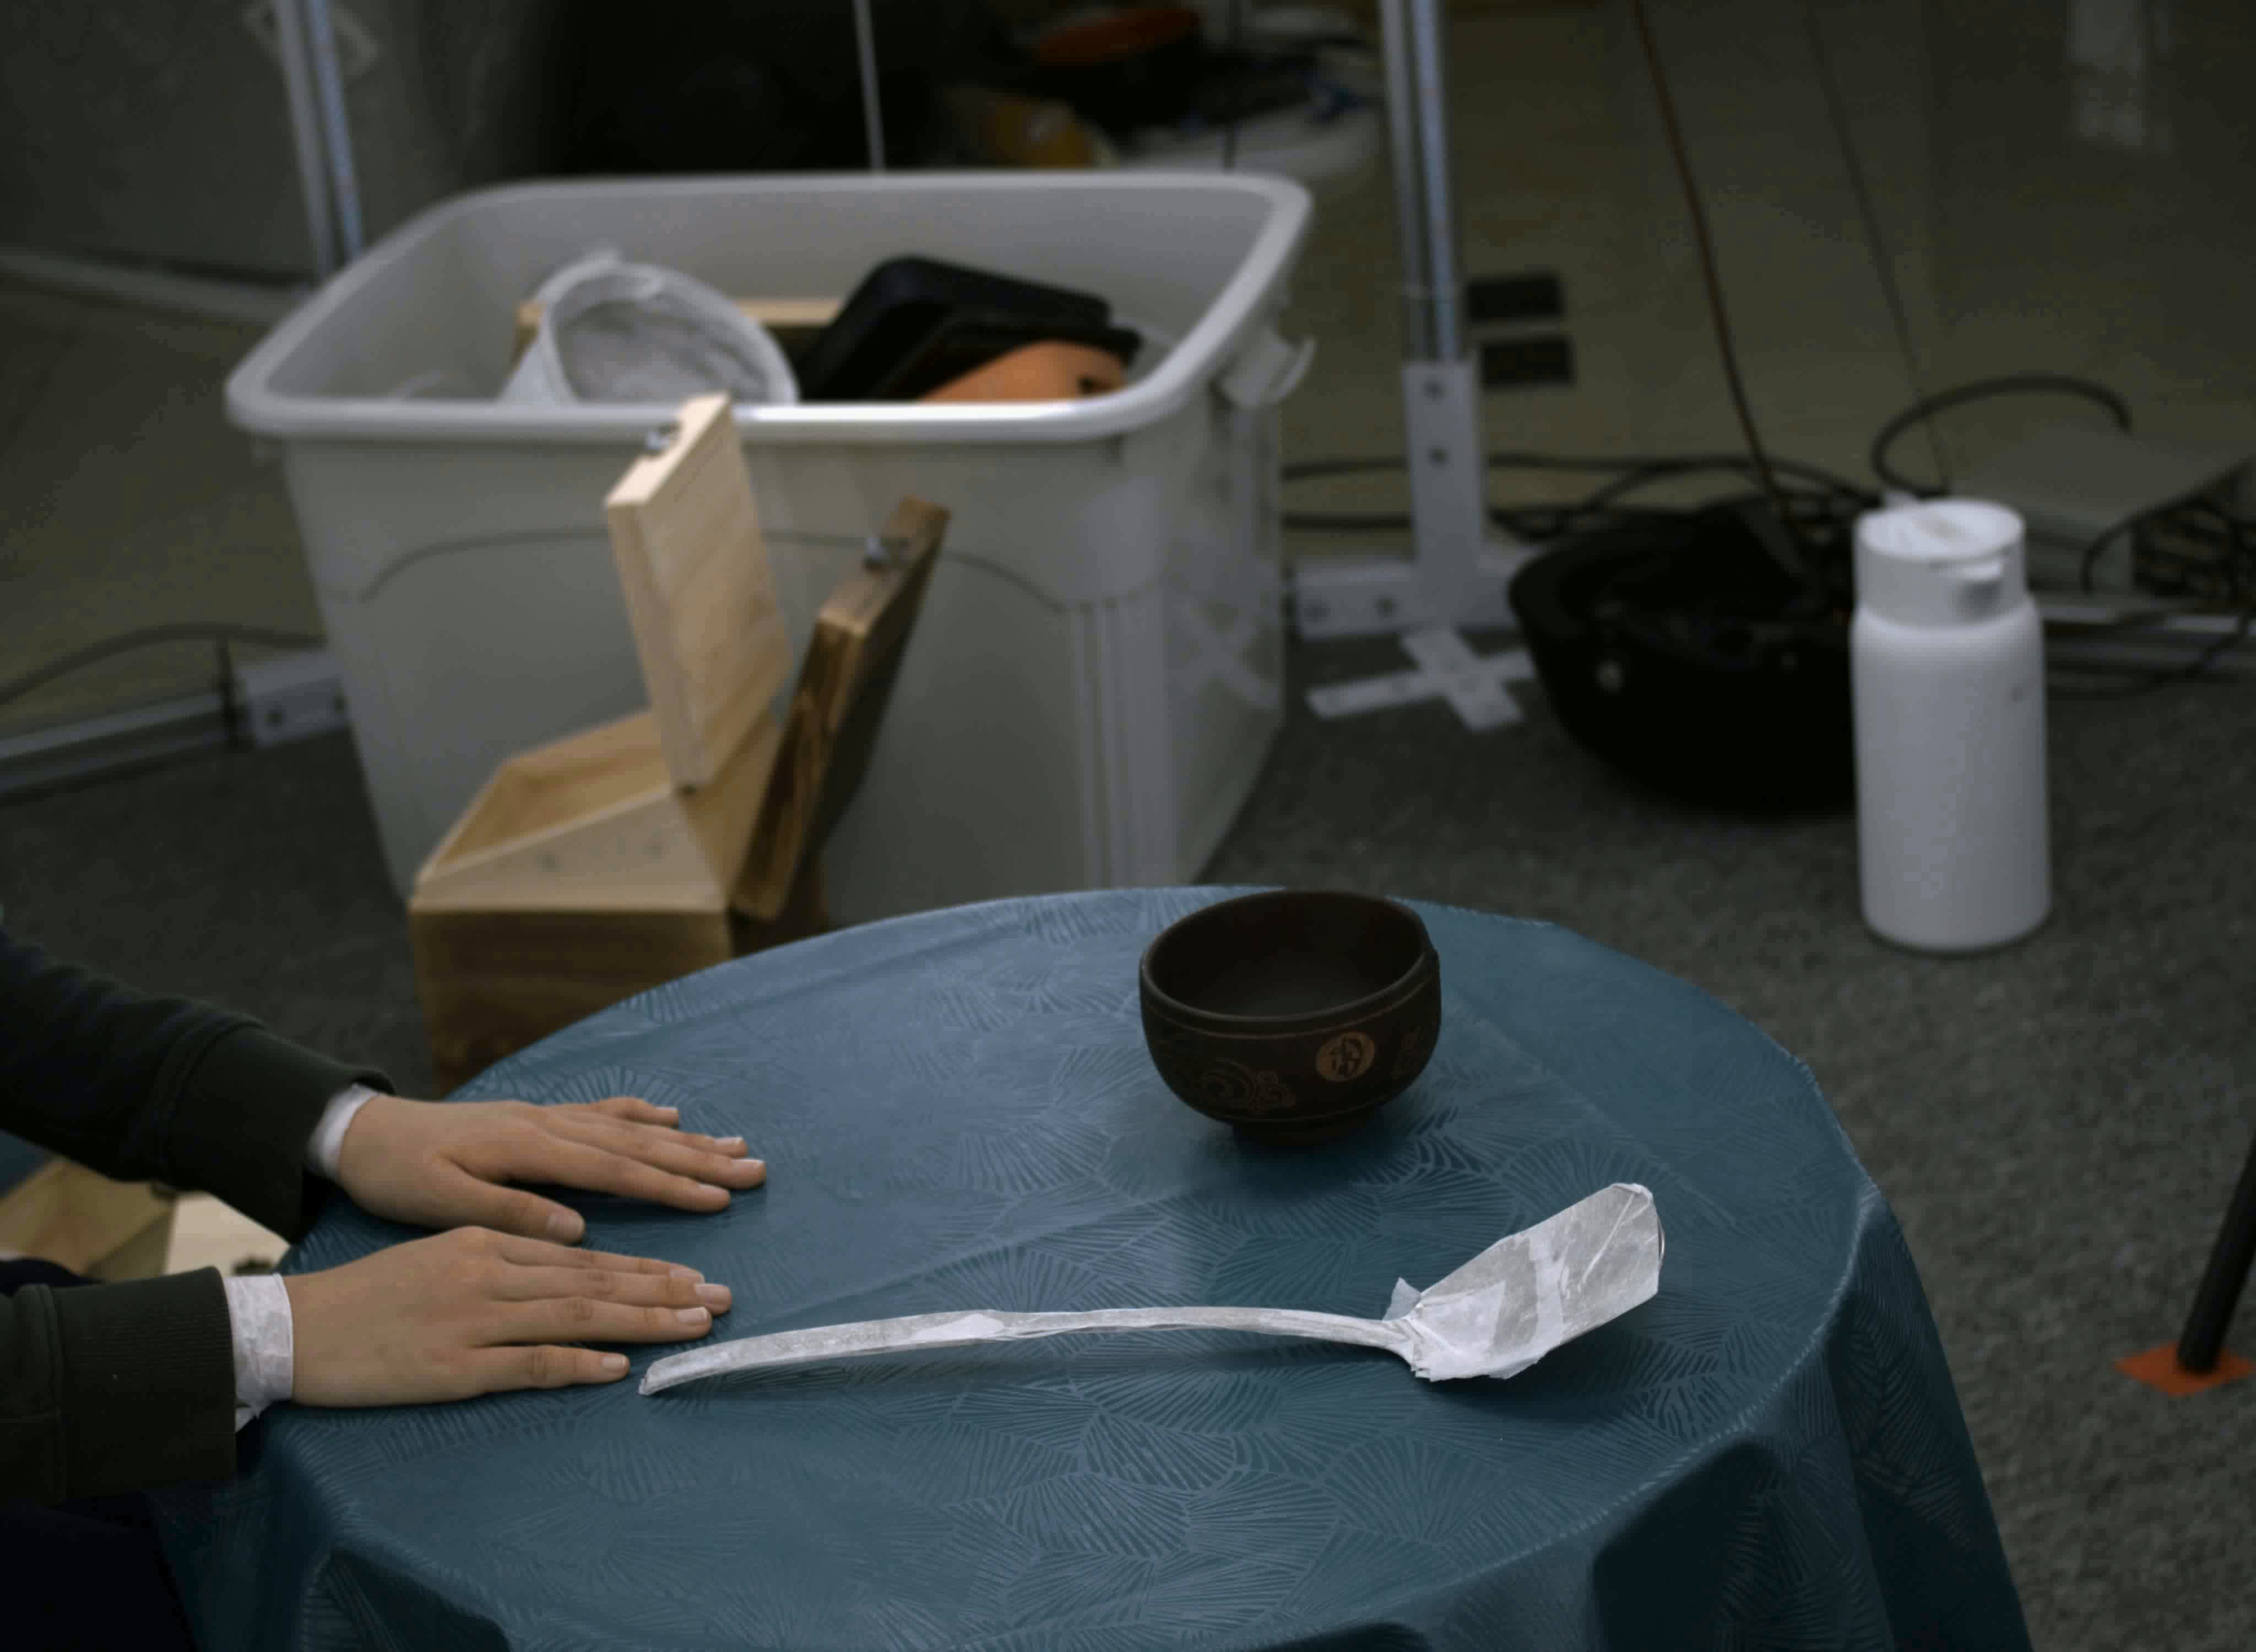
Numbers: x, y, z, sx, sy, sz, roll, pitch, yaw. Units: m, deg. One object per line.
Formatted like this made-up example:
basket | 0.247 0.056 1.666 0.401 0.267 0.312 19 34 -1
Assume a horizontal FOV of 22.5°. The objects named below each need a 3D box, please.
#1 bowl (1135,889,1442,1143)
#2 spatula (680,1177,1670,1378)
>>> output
bowl | 0.063 0.079 2.181 0.118 0.071 0.116 -6 23 3
spatula | 0.013 0.172 2.033 0.364 0.045 0.097 -3 27 7
